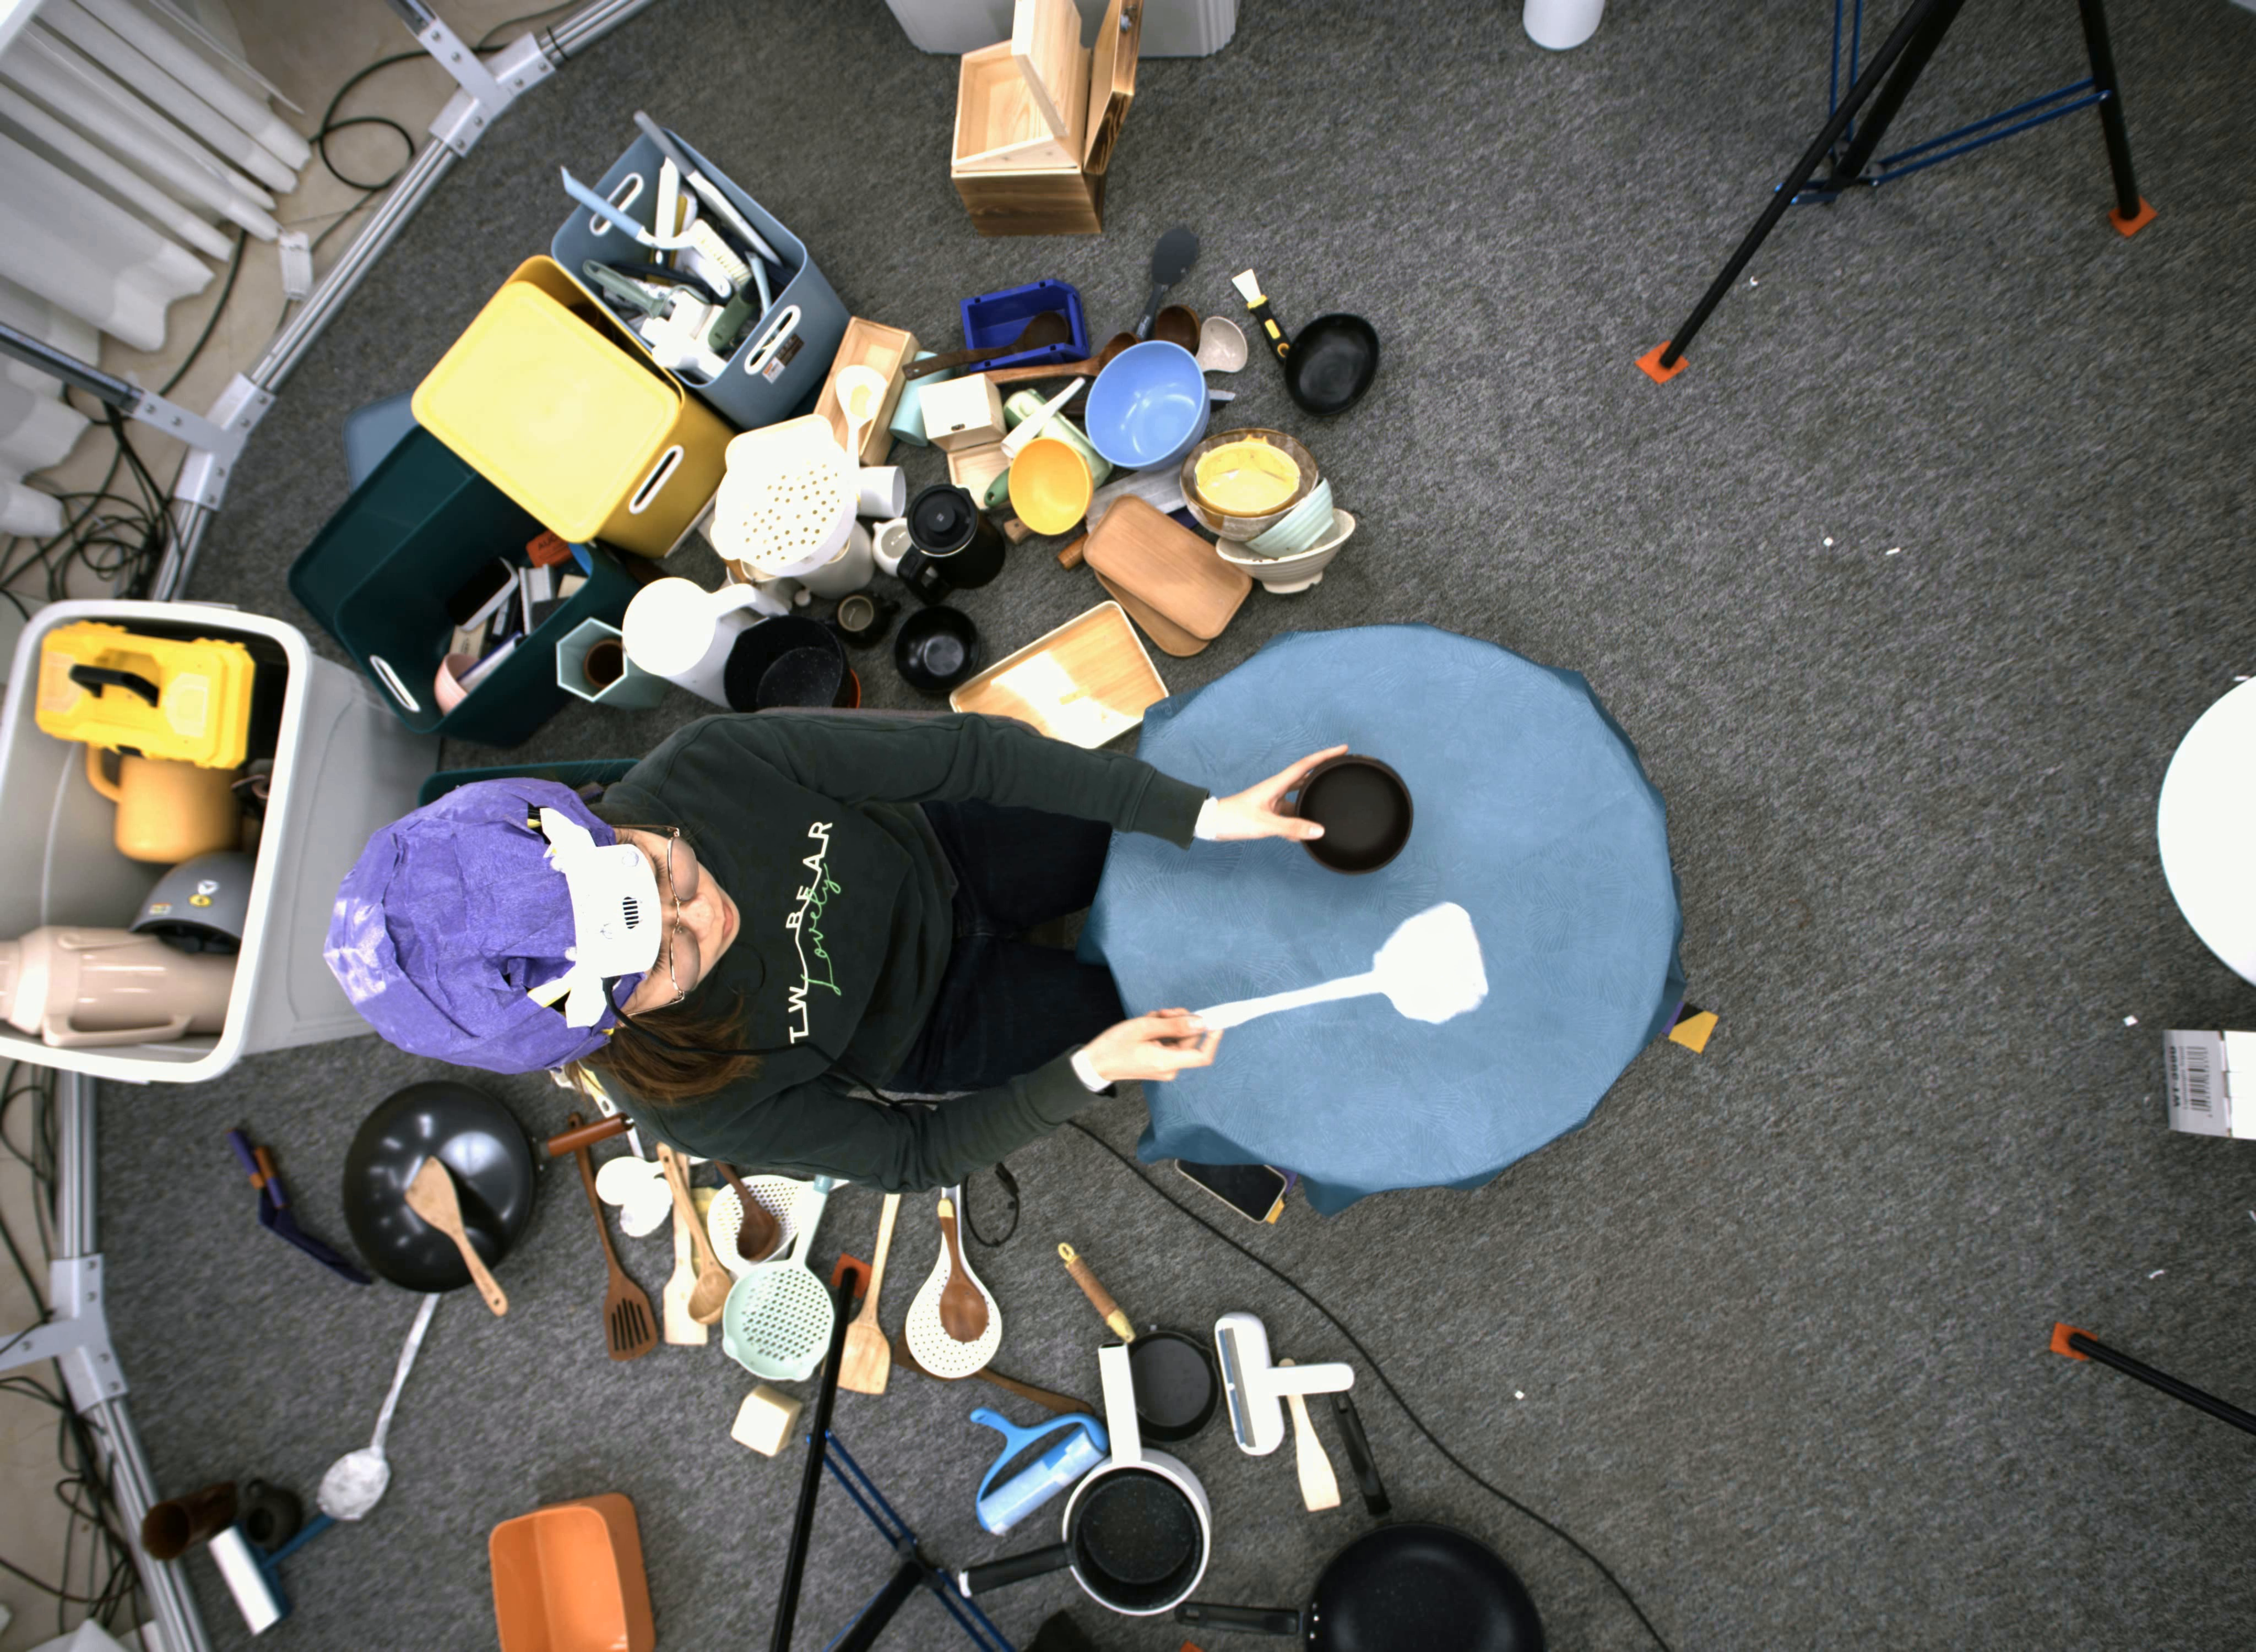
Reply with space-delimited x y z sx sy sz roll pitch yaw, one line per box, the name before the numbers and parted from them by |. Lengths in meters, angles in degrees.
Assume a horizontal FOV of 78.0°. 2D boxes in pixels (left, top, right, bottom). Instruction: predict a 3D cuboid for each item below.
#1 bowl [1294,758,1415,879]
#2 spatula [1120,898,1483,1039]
bowl | 0.224 -0.011 1.368 0.118 0.069 0.119 2 103 9
spatula | 0.152 0.155 1.296 0.368 0.045 0.097 -16 72 20
